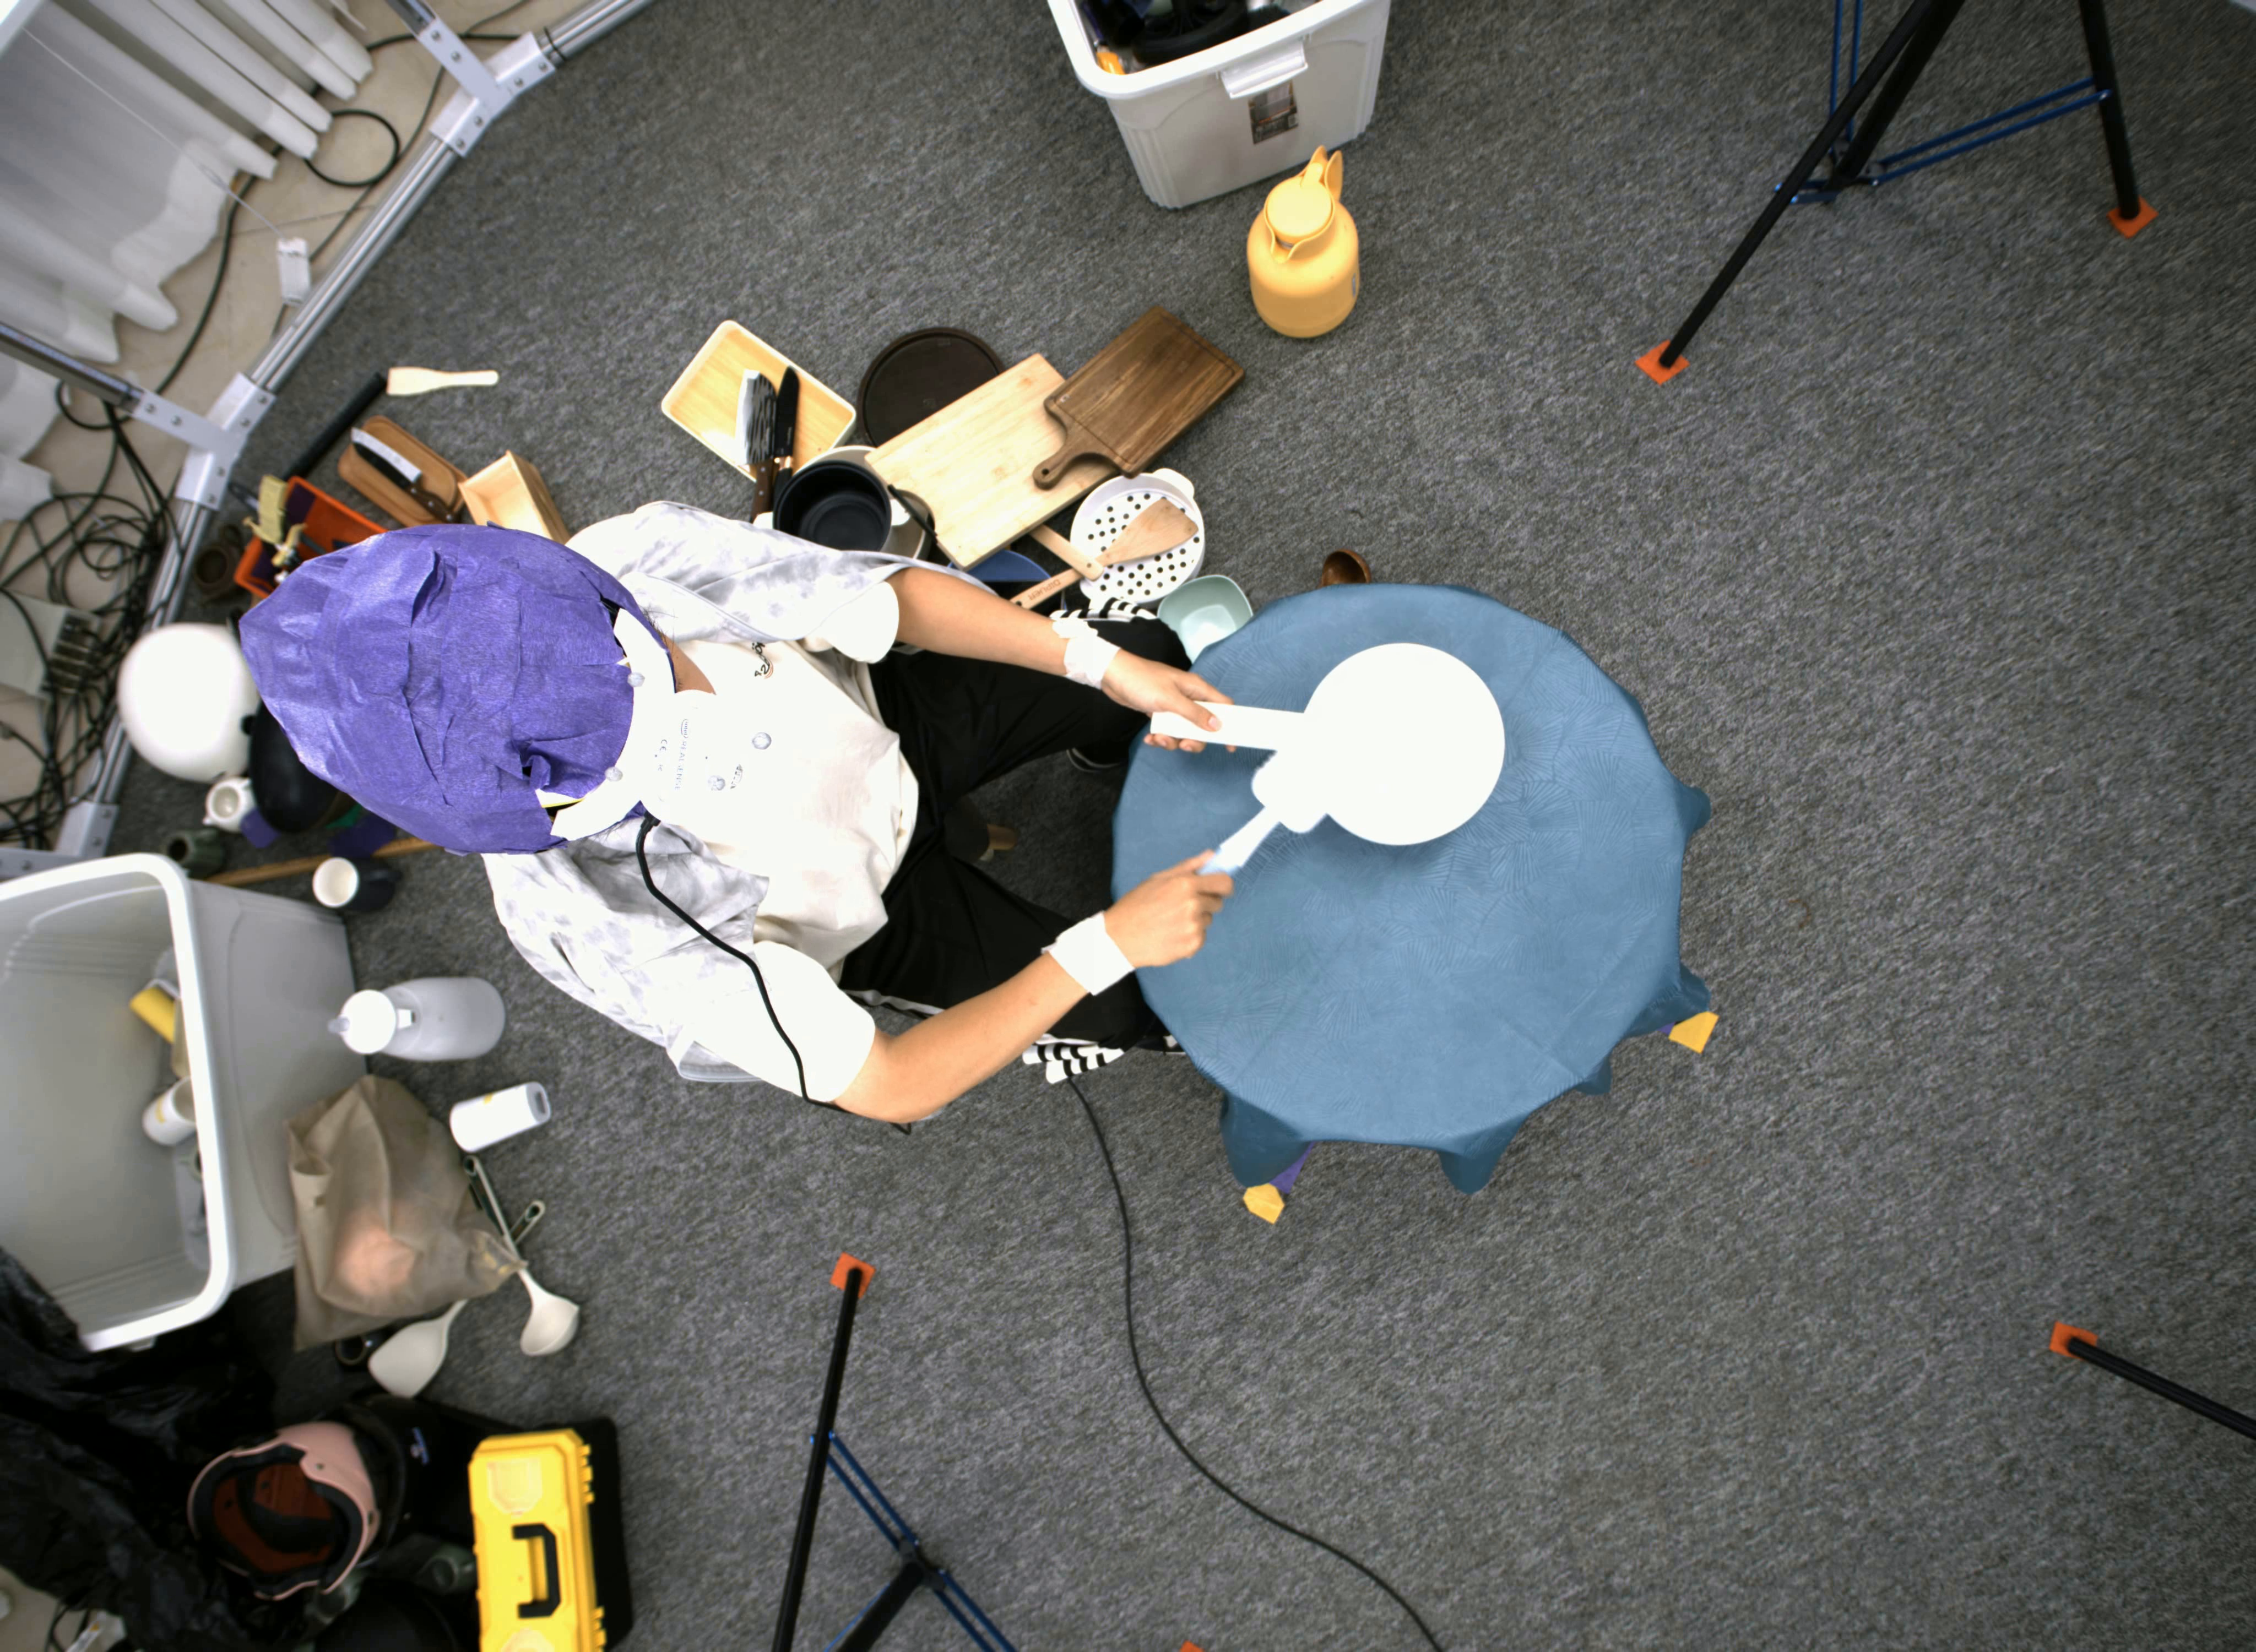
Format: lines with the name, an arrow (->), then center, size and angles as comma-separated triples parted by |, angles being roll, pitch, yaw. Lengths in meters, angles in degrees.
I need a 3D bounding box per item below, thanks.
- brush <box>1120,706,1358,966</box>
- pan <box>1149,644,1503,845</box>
brush -> 0.105, 0.007, 1.353 | 0.327, 0.085, 0.082 | -48, 51, 6
pan -> 0.202, -0.089, 1.425 | 0.356, 0.102, 0.200 | 7, 88, 10
